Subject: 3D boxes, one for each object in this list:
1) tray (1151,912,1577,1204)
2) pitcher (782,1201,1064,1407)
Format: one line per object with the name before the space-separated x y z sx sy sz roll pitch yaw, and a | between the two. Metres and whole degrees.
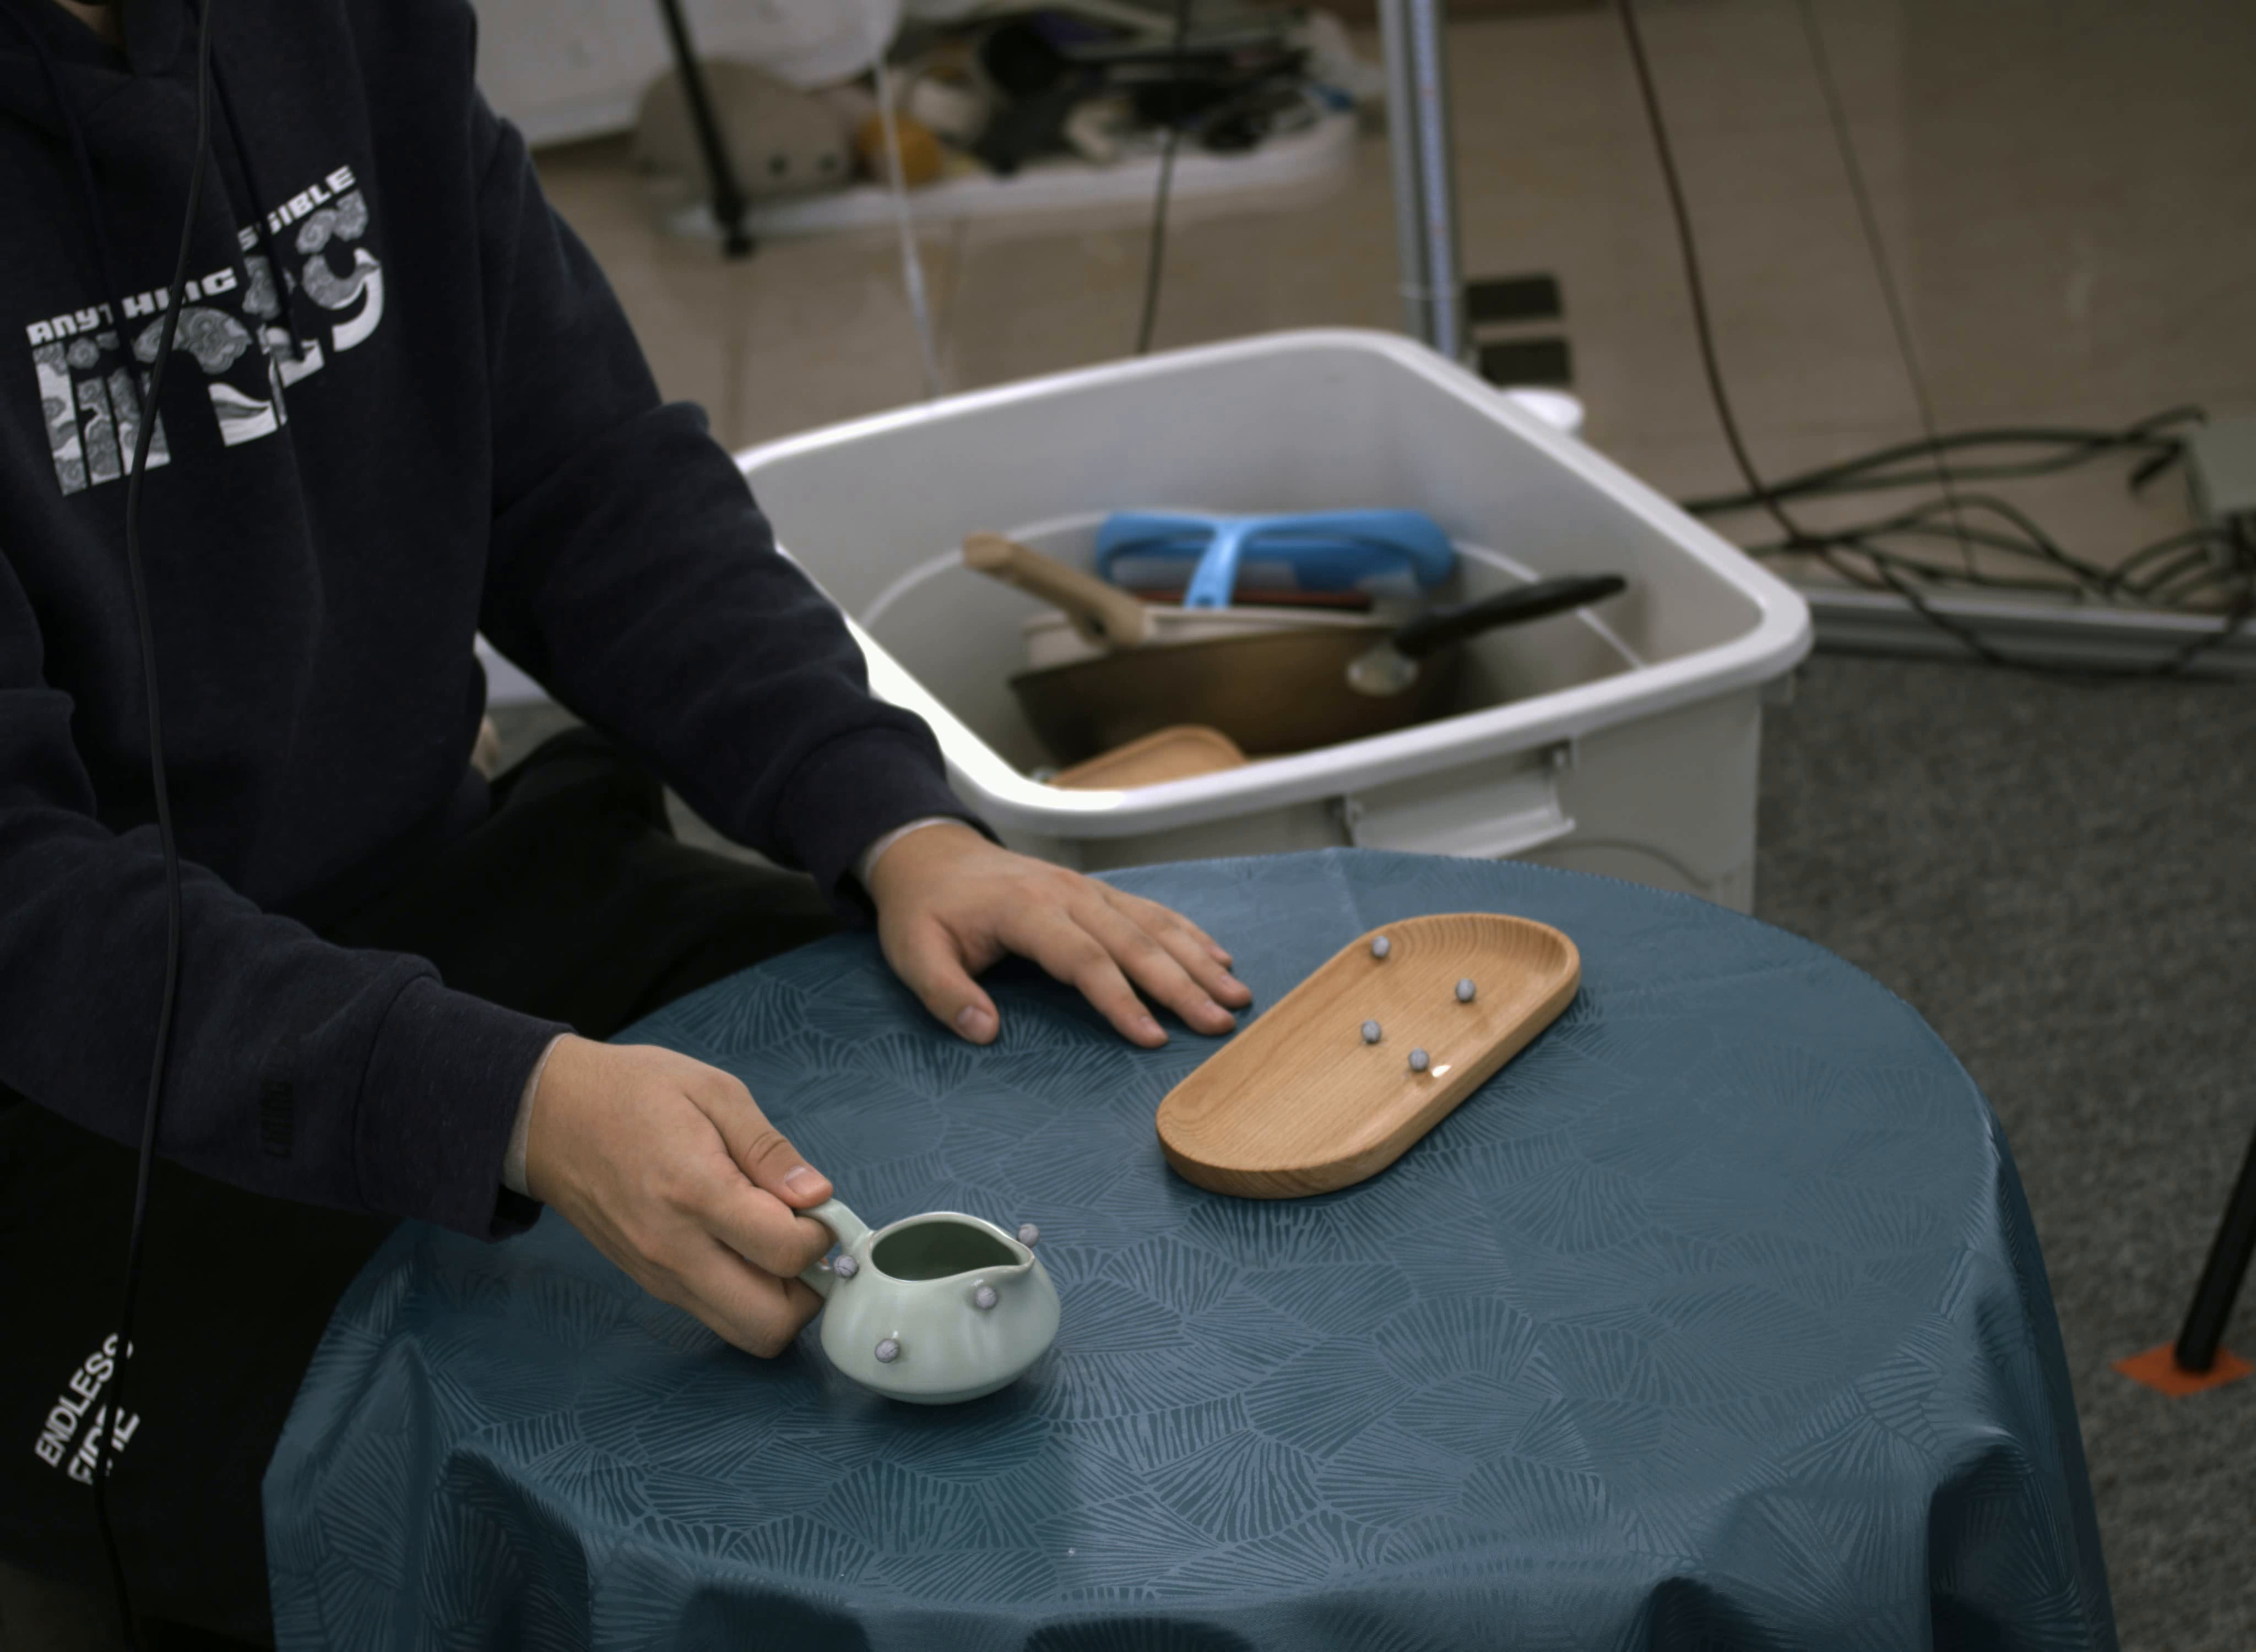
tray | 0.094 0.089 2.215 0.101 0.020 0.228 8 30 32
pitcher | -0.076 0.168 2.024 0.107 0.061 0.085 10 30 27
